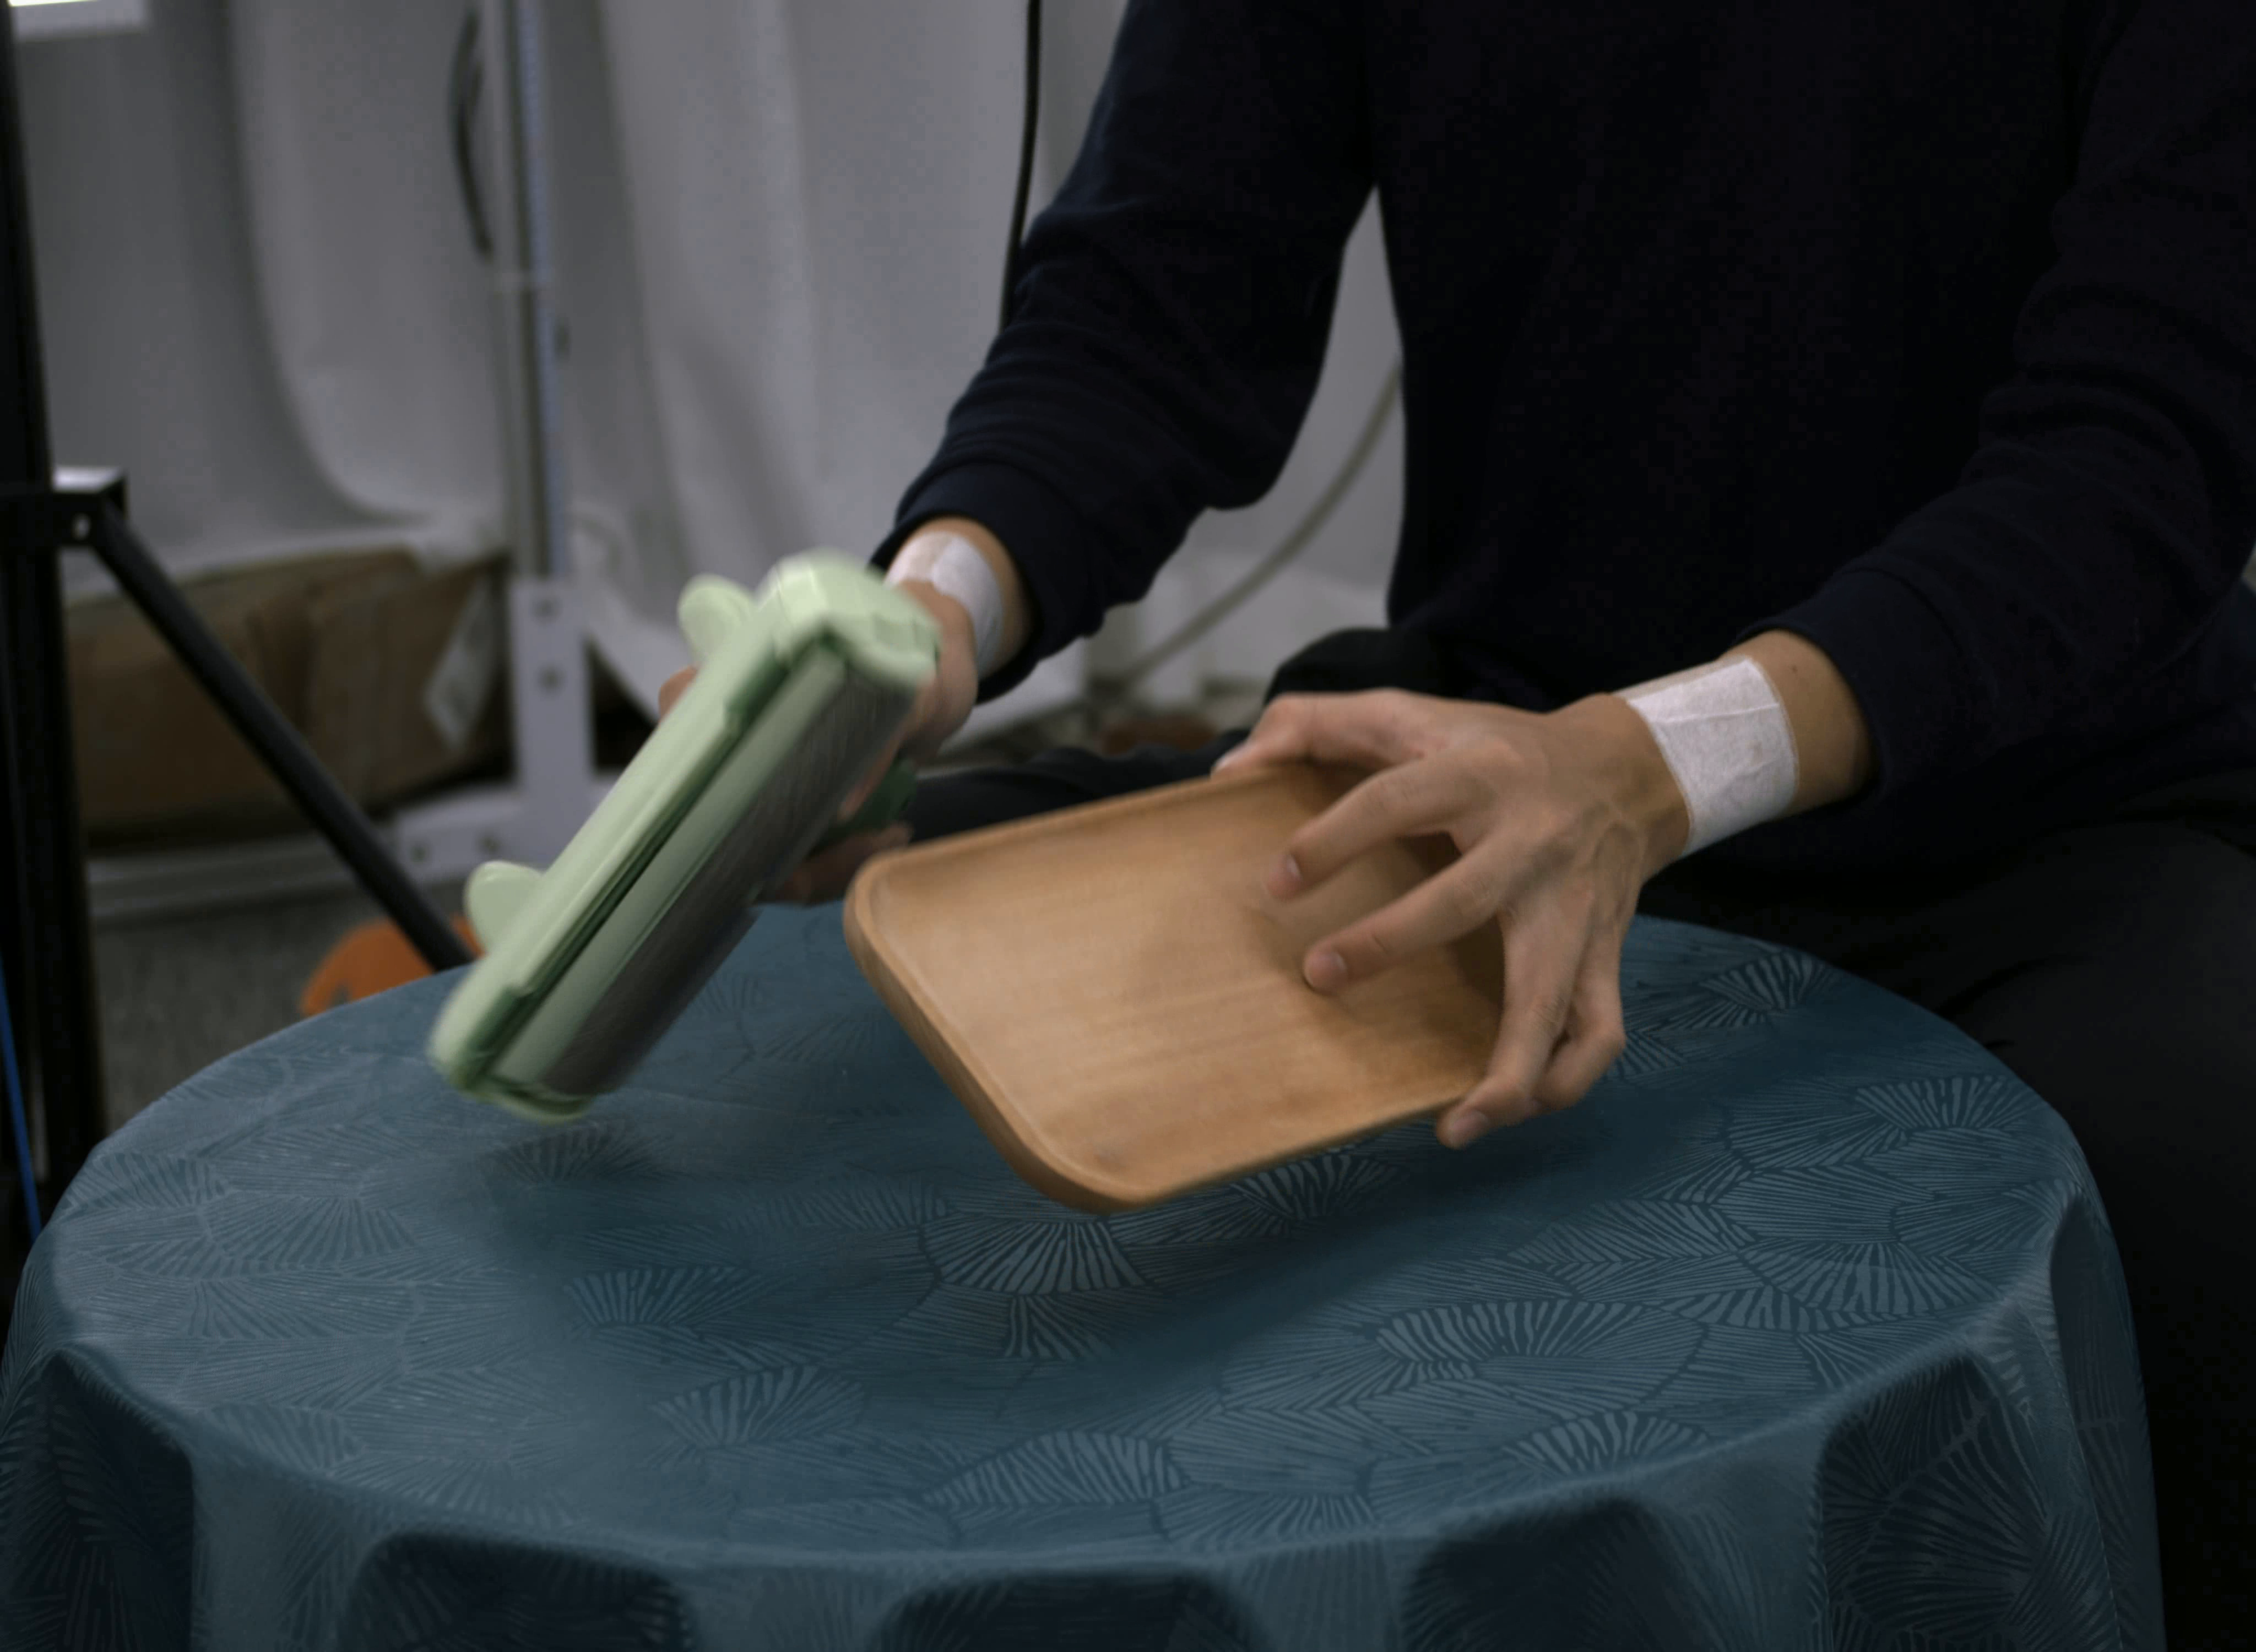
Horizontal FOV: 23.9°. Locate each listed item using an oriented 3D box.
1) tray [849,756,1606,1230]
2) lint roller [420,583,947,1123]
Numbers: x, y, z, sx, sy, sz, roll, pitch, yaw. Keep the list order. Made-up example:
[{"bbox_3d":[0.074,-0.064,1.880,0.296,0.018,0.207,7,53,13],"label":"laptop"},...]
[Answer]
[{"bbox_3d":[0.032,0.045,1.522,0.245,0.023,0.132,-13,57,-47],"label":"tray"},{"bbox_3d":[-0.128,-0.012,1.641,0.200,0.082,0.182,-45,4,22],"label":"lint roller"}]
